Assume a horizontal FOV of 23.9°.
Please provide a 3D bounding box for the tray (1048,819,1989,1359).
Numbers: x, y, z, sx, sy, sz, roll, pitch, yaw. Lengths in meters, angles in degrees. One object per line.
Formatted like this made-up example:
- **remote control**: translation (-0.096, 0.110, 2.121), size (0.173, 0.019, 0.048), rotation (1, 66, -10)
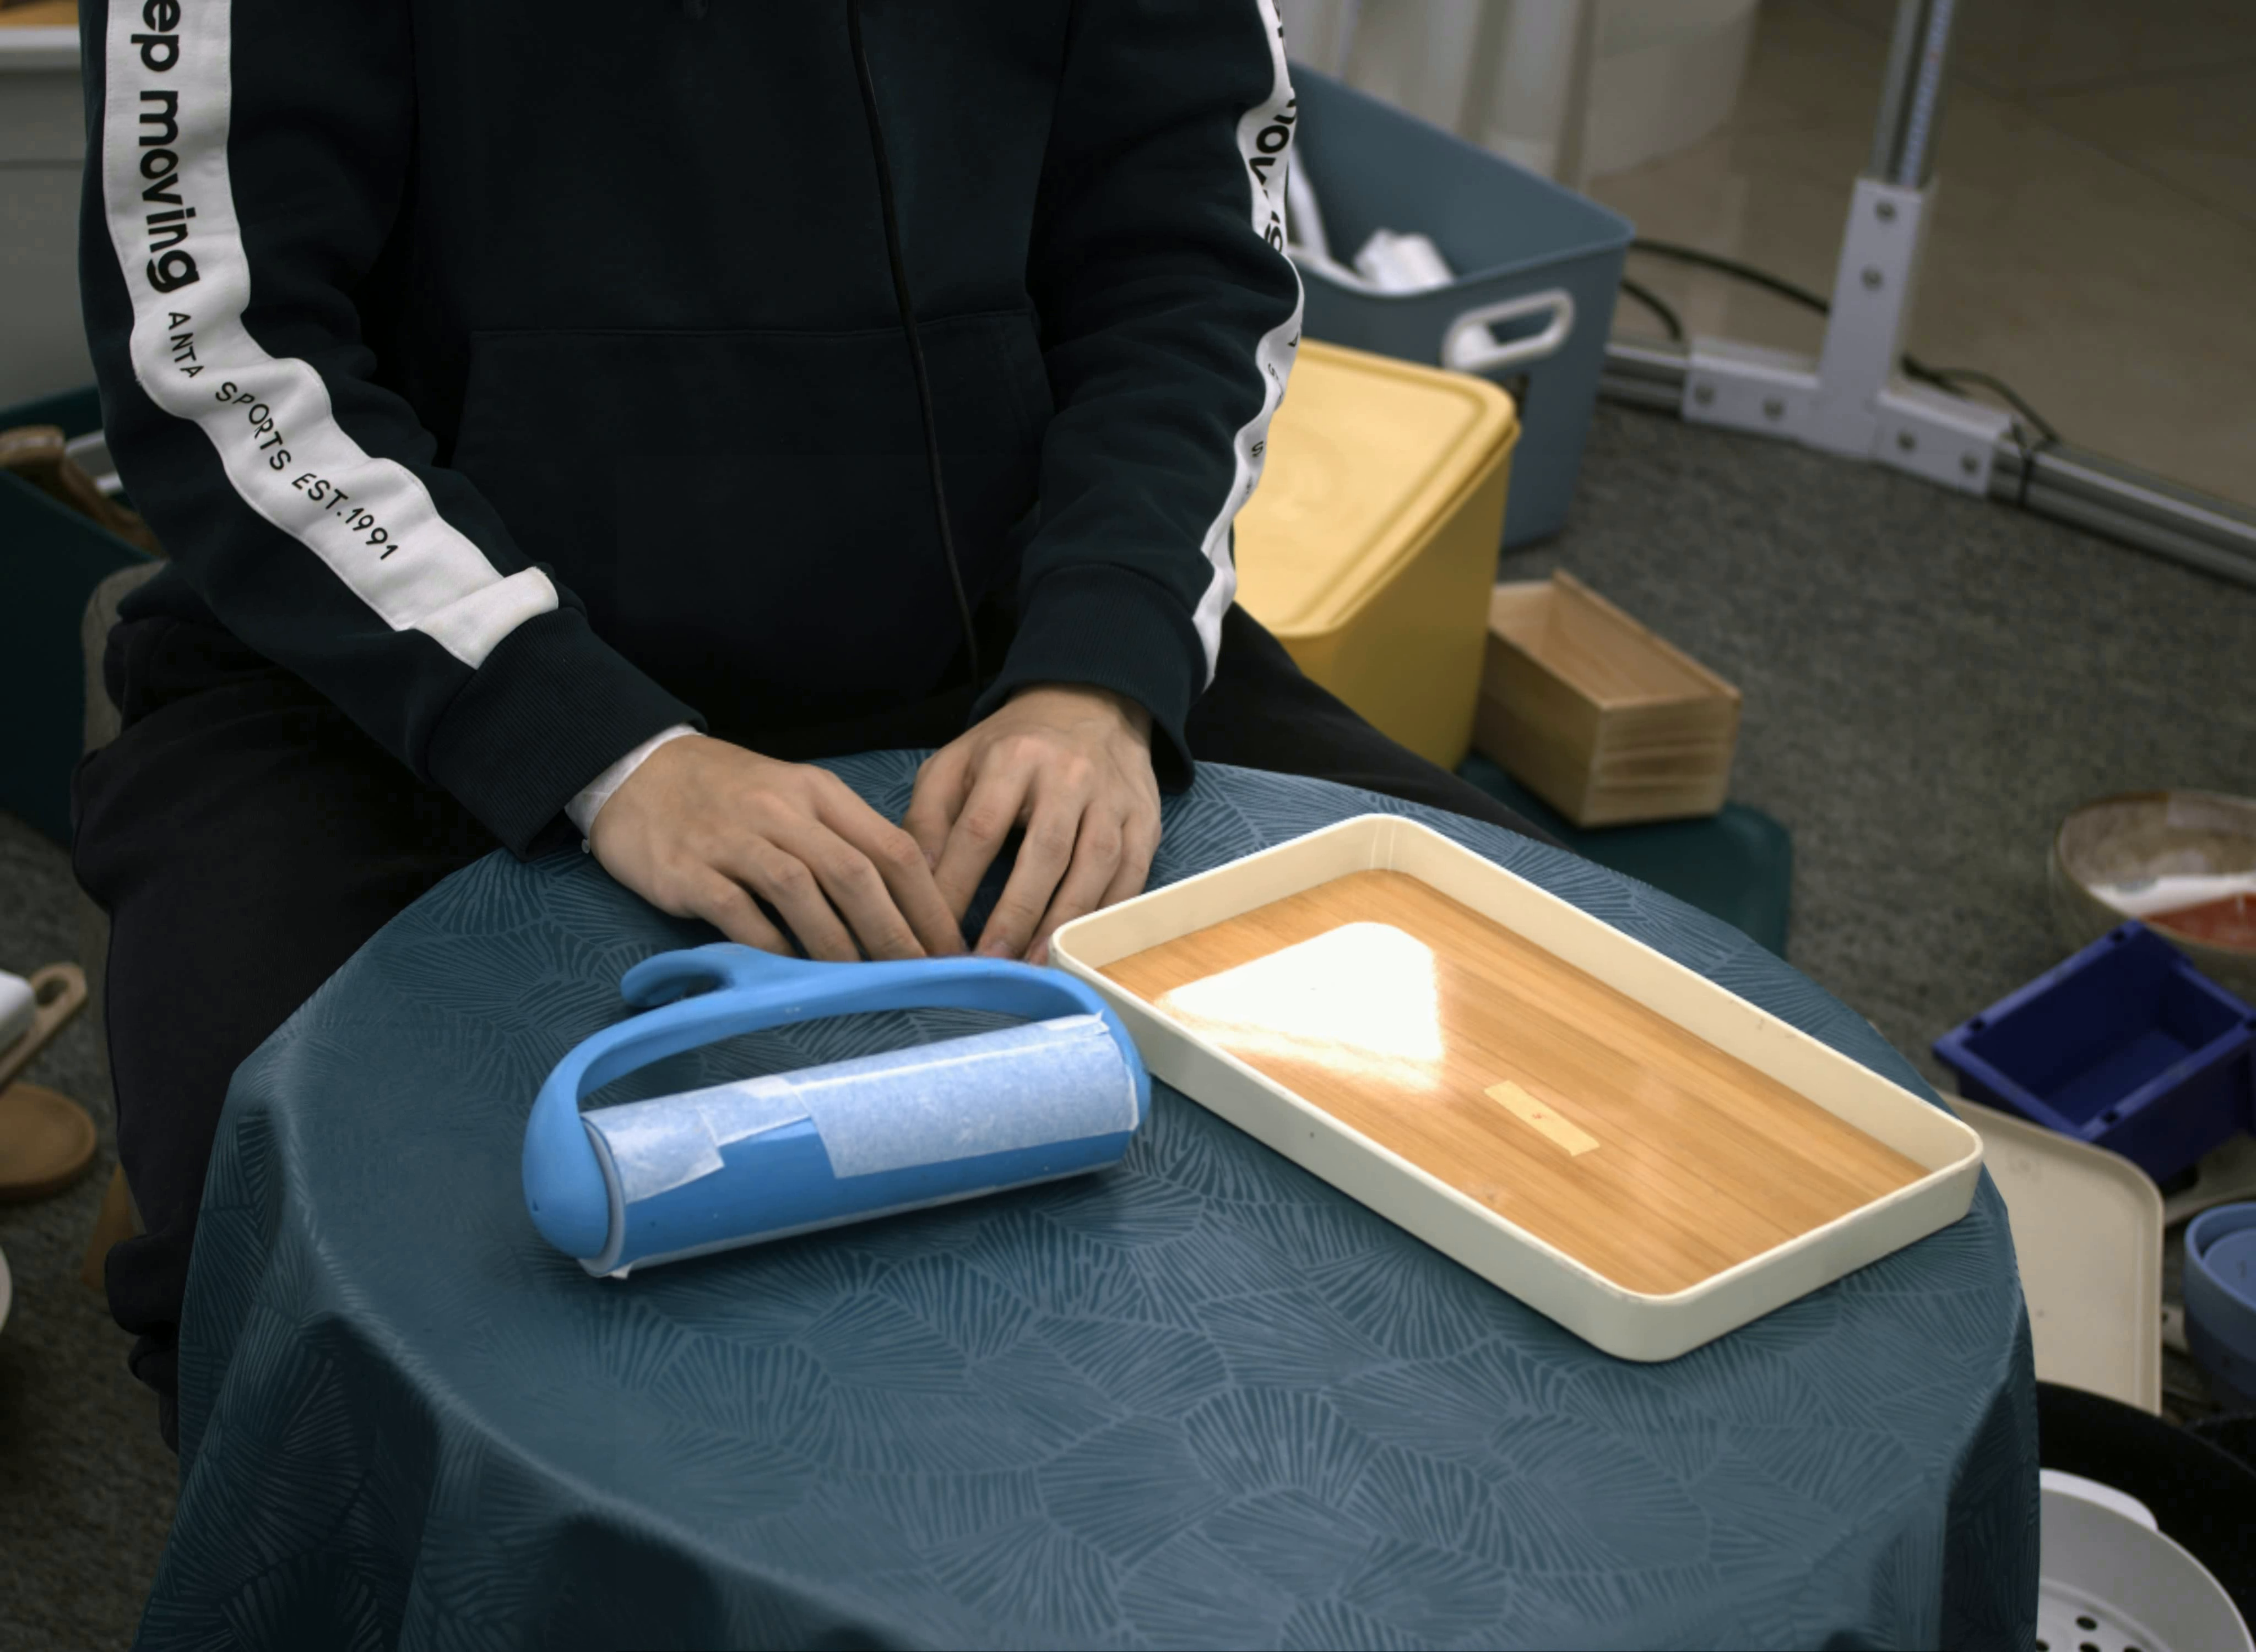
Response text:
- **tray**: translation (0.133, 0.087, 1.872), size (0.190, 0.027, 0.302), rotation (-18, 36, -40)

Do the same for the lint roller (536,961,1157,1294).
- **lint roller**: translation (-0.123, 0.080, 1.796), size (0.227, 0.067, 0.182), rotation (-15, 34, -32)
